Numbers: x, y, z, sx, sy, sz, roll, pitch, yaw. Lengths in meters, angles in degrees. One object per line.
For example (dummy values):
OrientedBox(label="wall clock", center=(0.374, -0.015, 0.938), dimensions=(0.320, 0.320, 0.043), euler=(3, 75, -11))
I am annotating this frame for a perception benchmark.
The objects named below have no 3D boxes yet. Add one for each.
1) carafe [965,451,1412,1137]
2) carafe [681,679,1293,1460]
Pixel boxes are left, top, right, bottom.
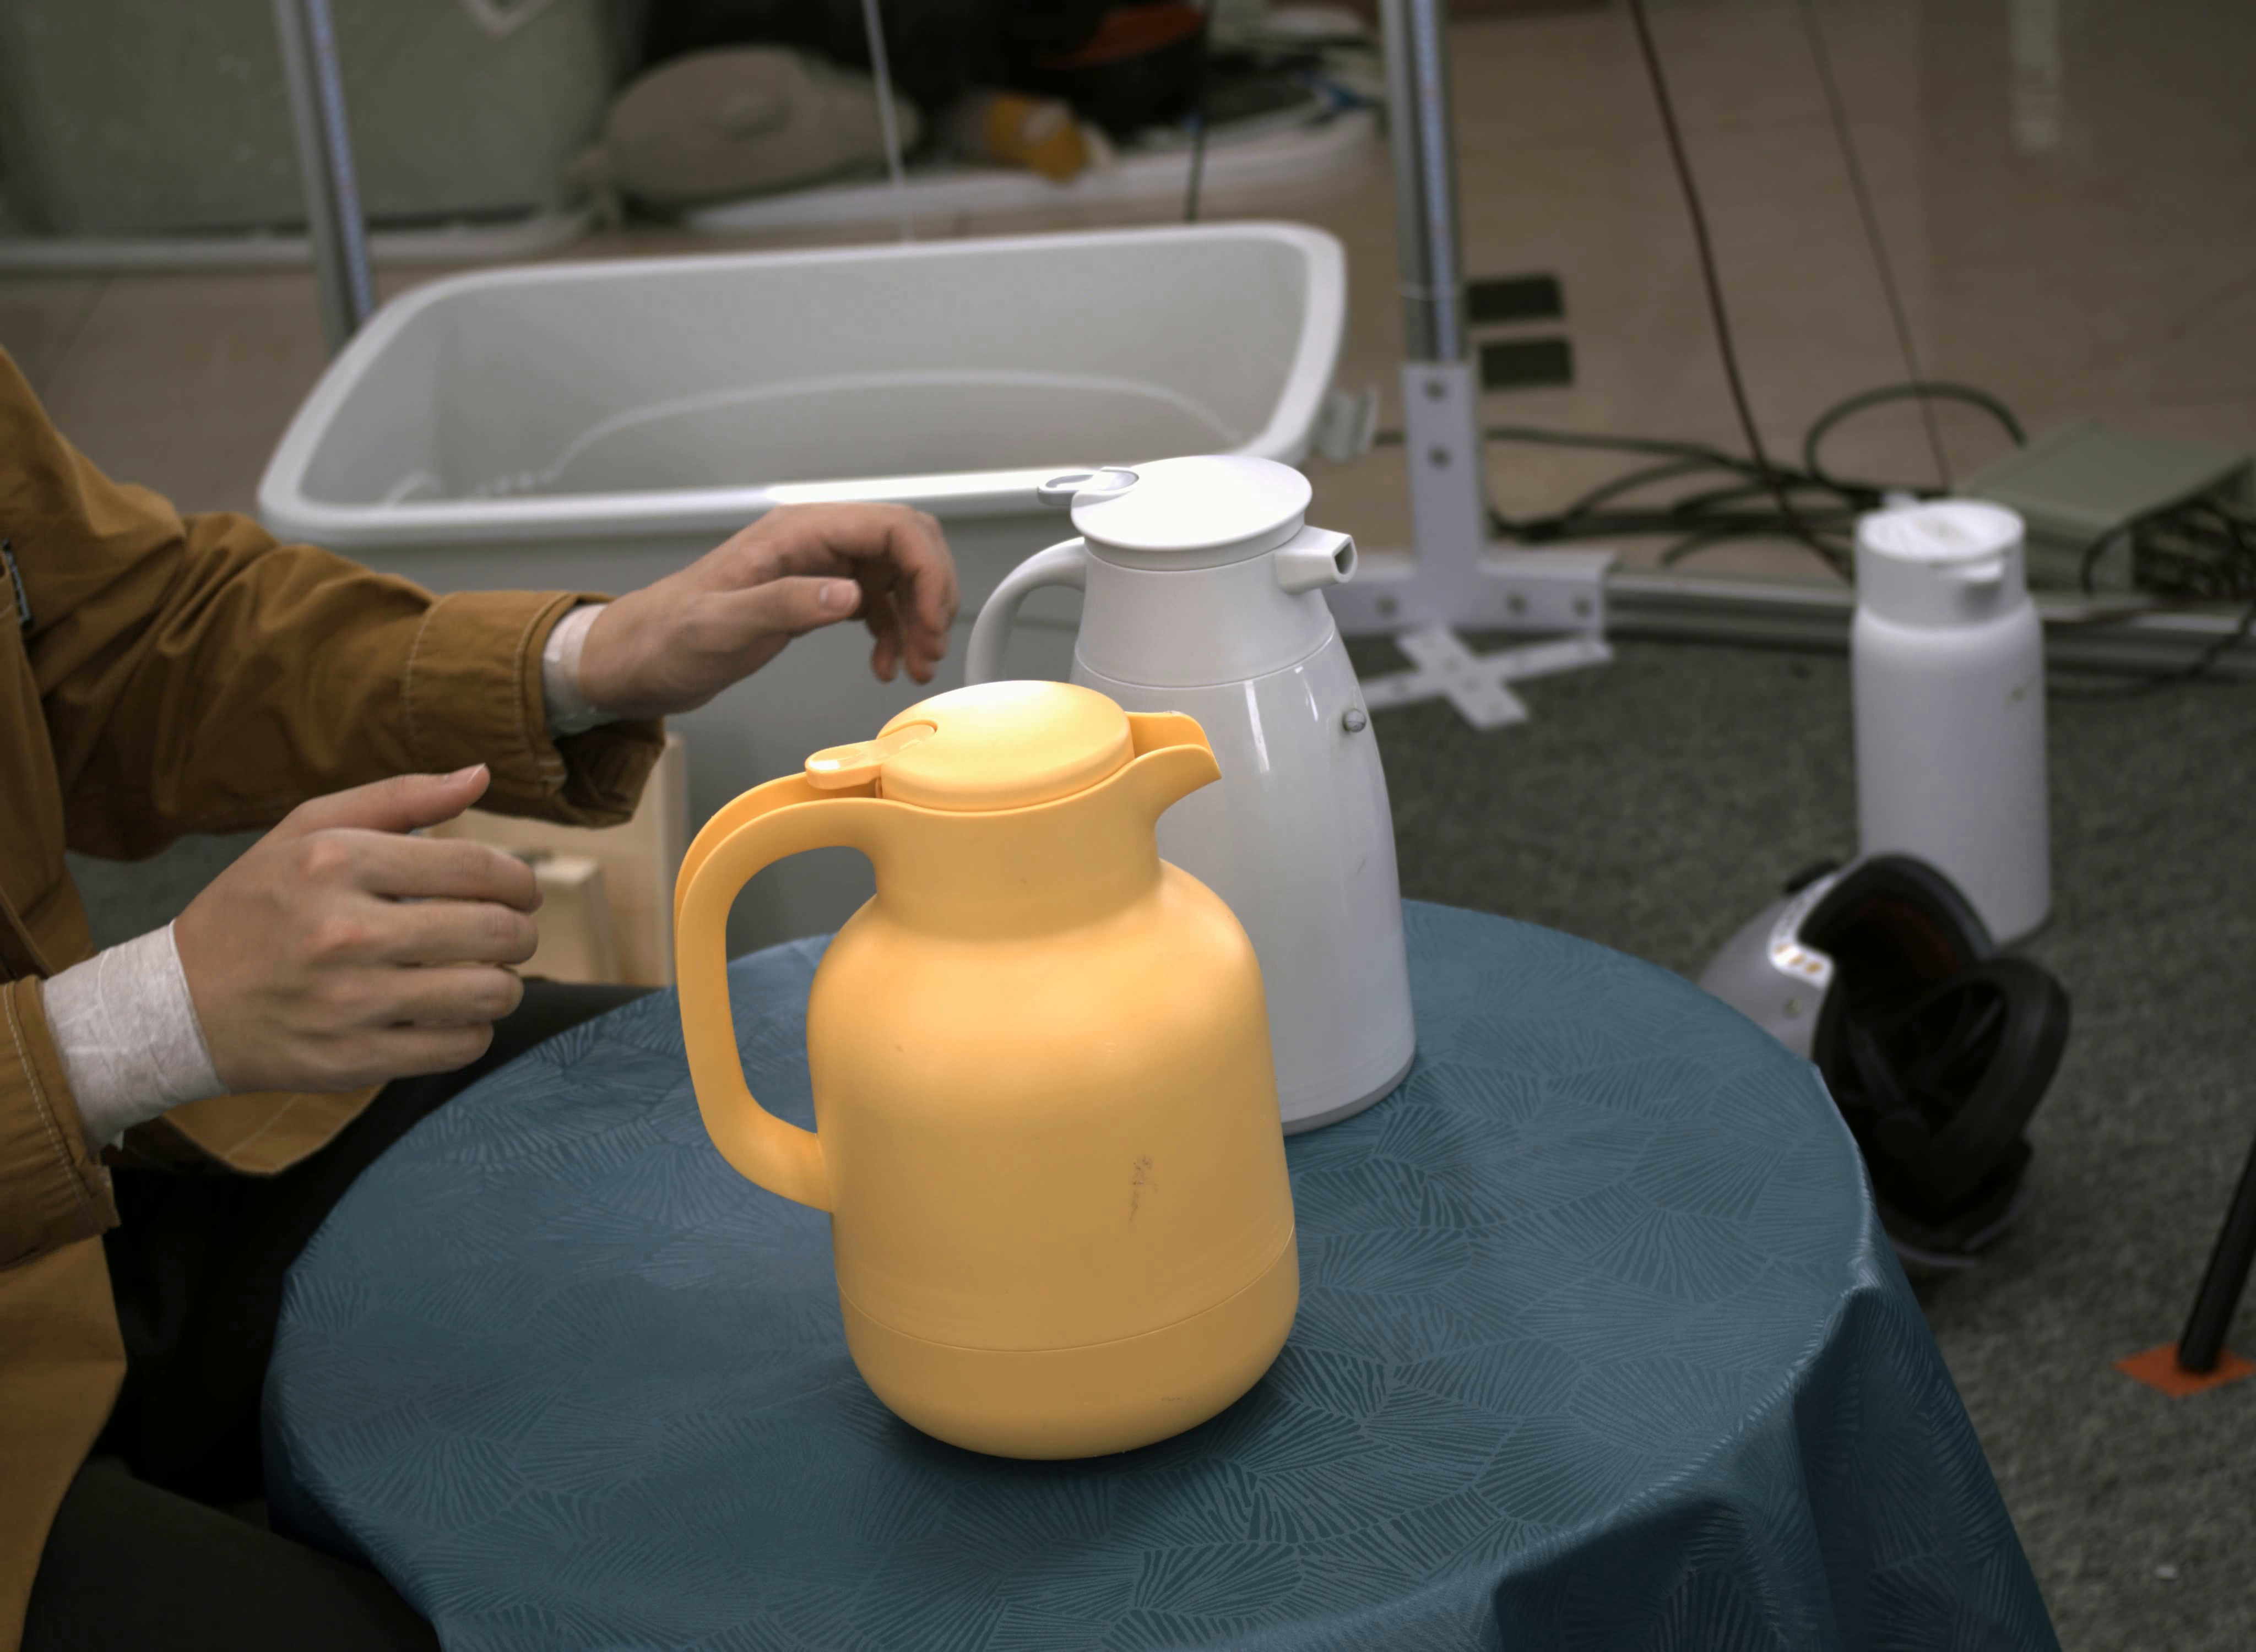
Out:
OrientedBox(label="carafe", center=(0.018, -0.020, 2.186), dimensions=(0.167, 0.252, 0.131), euler=(6, 28, 25))
OrientedBox(label="carafe", center=(-0.050, 0.082, 1.972), dimensions=(0.202, 0.264, 0.161), euler=(-7, 24, -3))
